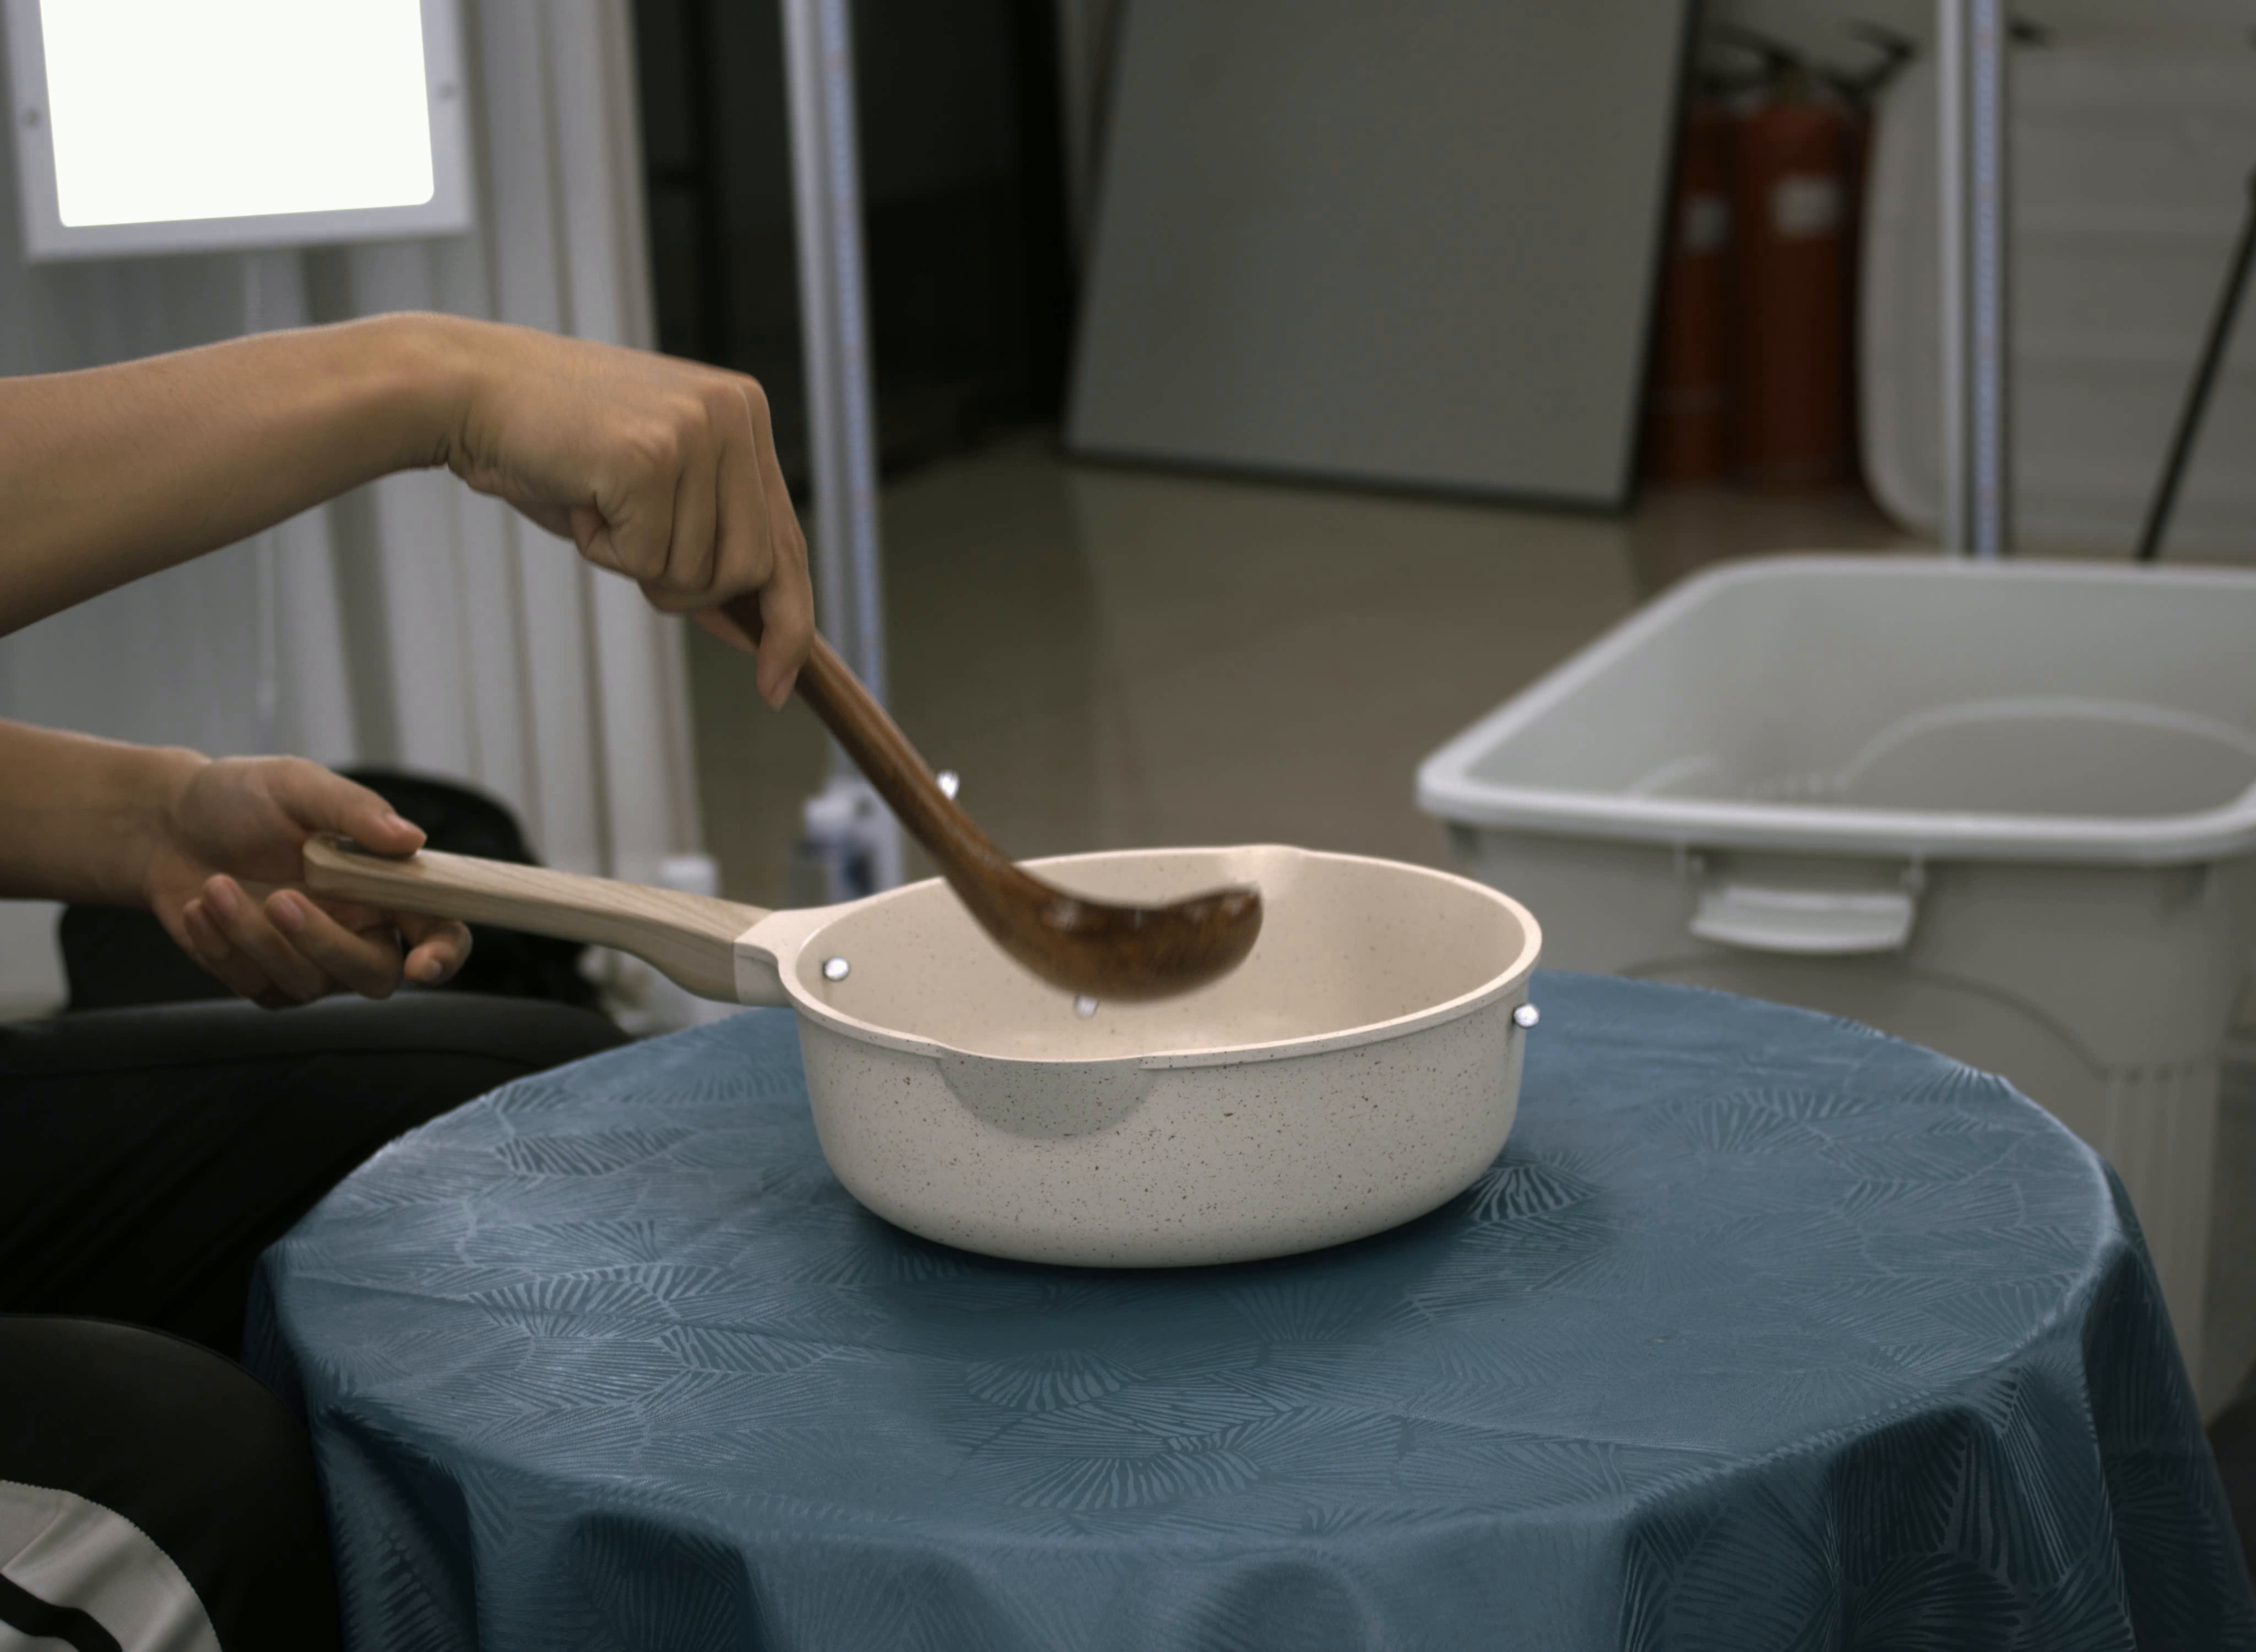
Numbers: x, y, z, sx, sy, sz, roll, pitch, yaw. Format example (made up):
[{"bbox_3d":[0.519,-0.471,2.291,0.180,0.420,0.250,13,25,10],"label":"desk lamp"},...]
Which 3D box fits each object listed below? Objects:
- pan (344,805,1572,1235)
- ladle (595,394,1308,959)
[{"bbox_3d":[-0.061,0.057,1.820,0.434,0.103,0.261,1,16,20],"label":"pan"},{"bbox_3d":[-0.050,-0.055,1.697,0.083,0.272,0.076,-21,27,52],"label":"ladle"}]
